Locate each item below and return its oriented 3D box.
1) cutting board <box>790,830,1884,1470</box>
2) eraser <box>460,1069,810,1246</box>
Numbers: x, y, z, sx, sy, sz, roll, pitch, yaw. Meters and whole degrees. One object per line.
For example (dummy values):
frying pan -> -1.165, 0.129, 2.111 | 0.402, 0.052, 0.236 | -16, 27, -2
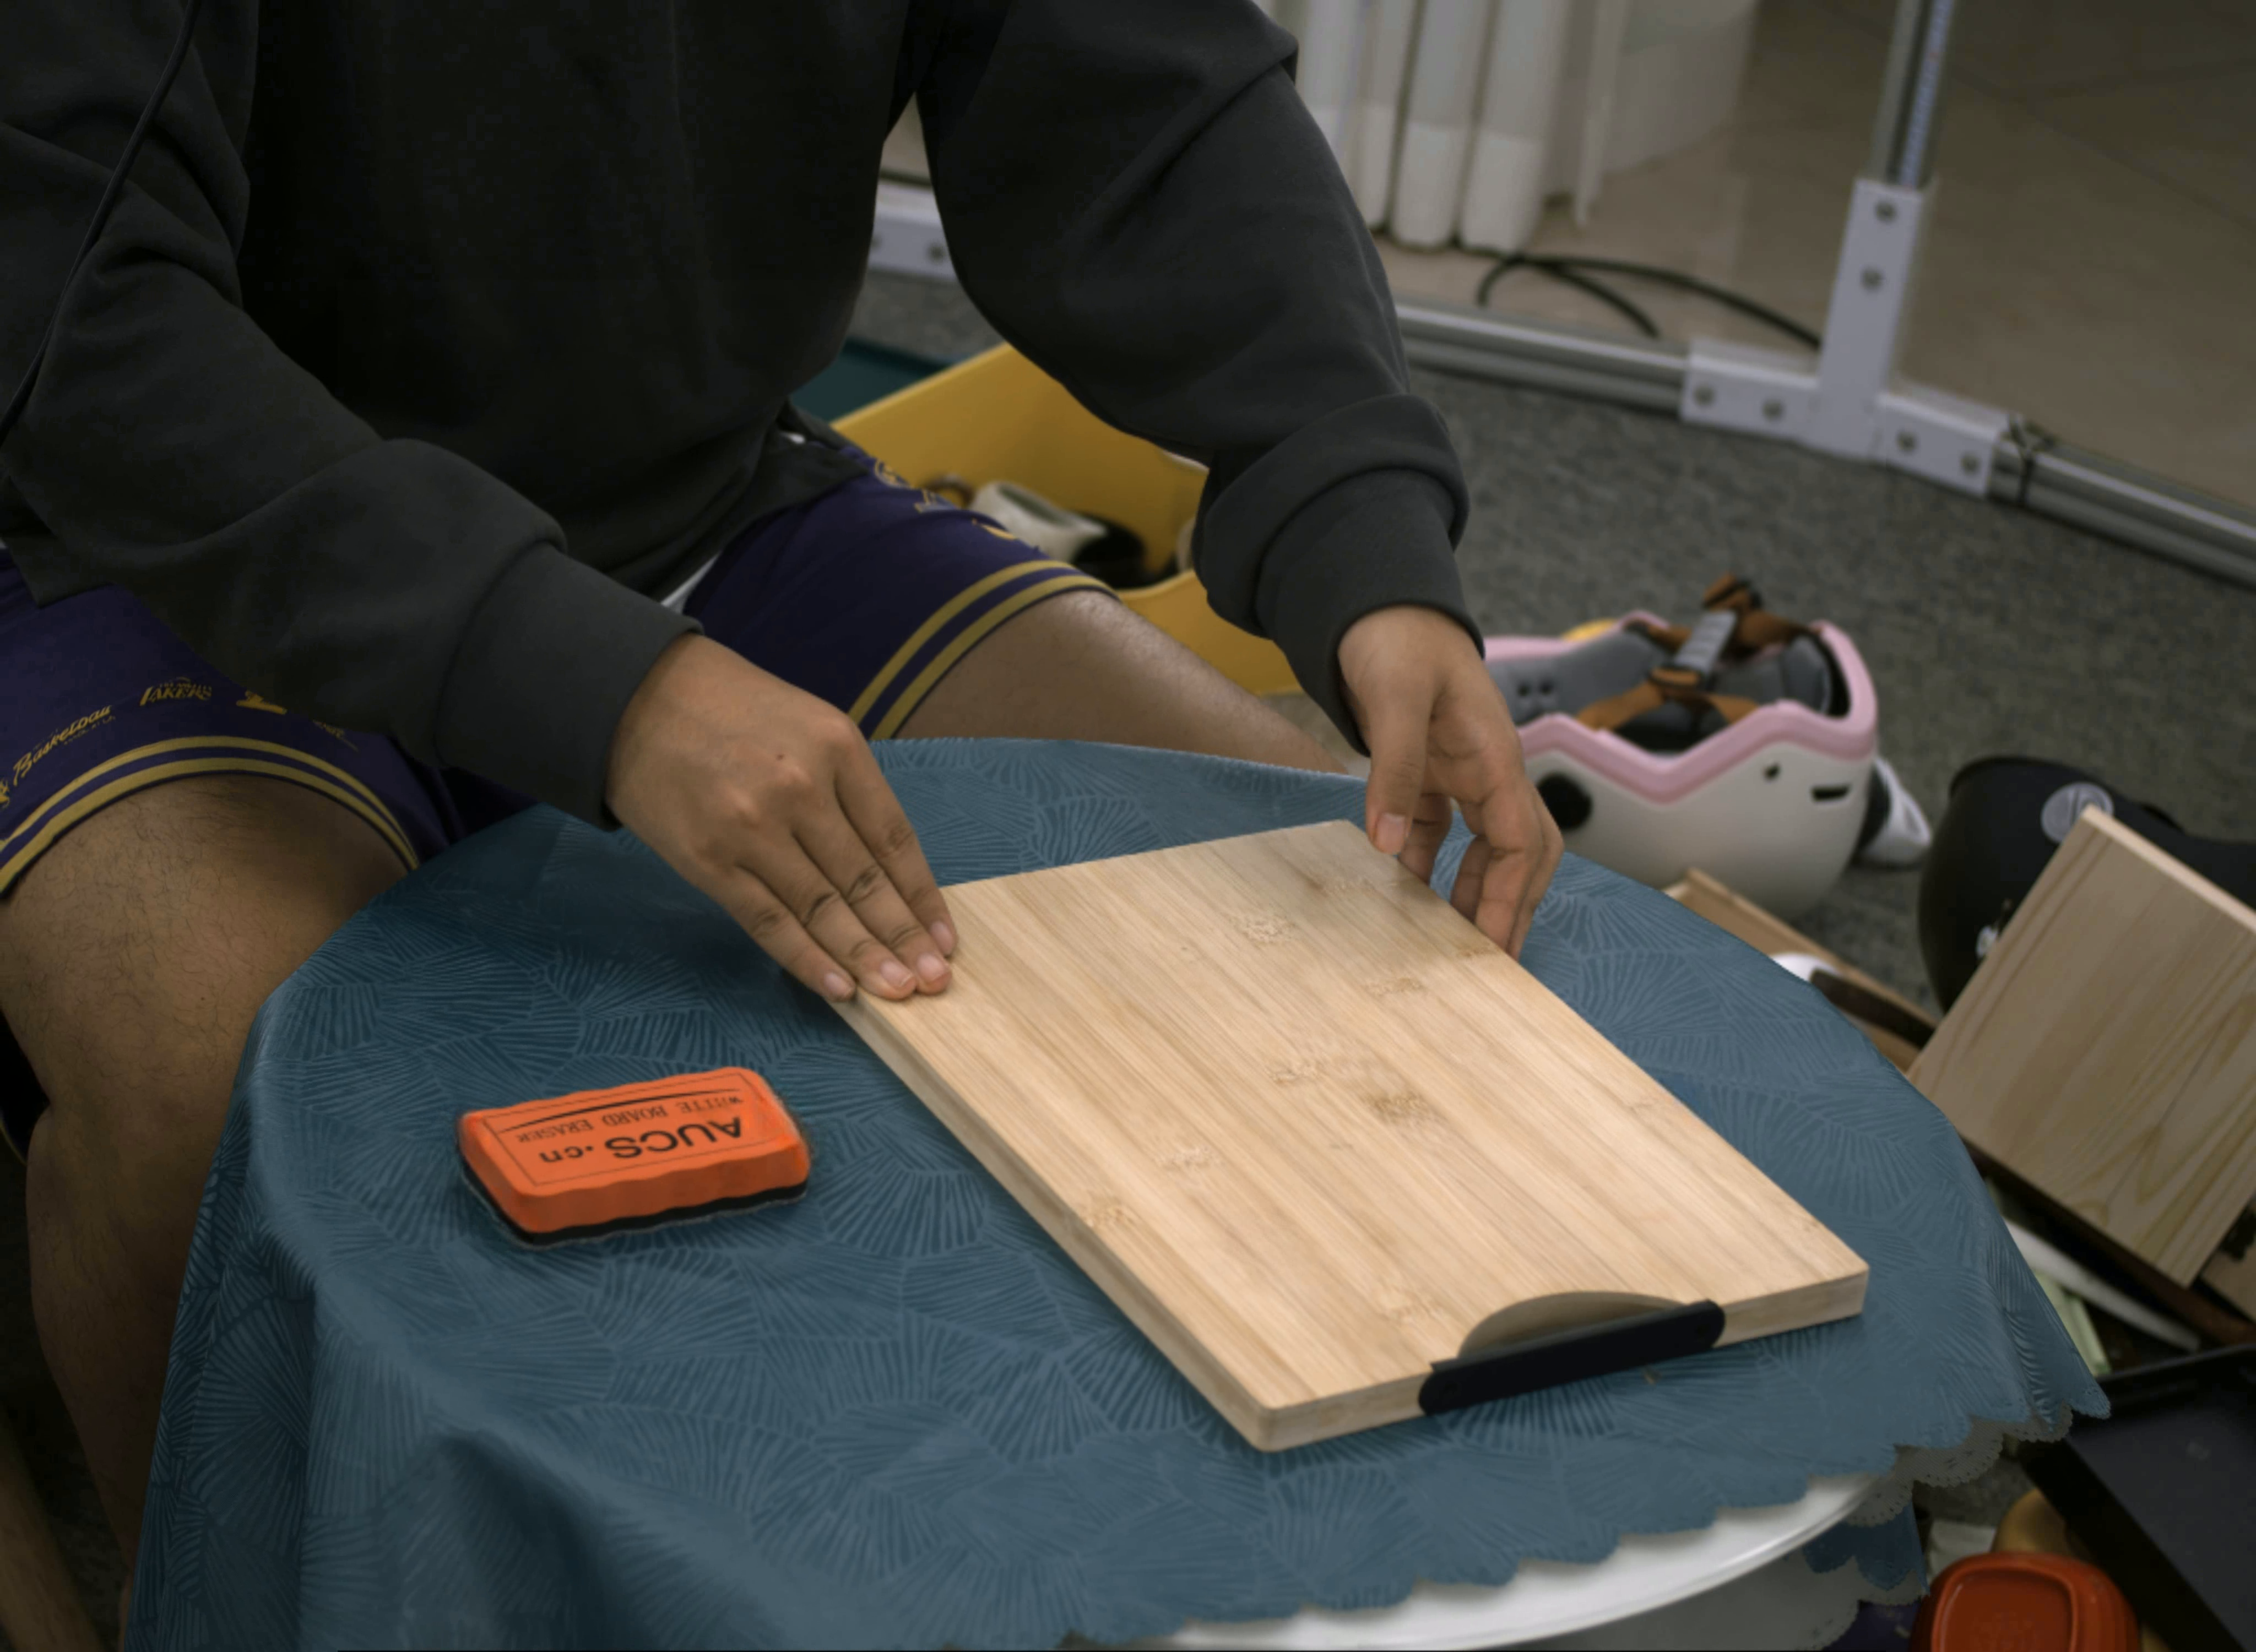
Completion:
cutting board -> 0.065, 0.101, 1.842 | 0.249, 0.023, 0.352 | -10, 31, -29
eraser -> -0.163, 0.110, 1.766 | 0.107, 0.023, 0.059 | -8, 30, -27
